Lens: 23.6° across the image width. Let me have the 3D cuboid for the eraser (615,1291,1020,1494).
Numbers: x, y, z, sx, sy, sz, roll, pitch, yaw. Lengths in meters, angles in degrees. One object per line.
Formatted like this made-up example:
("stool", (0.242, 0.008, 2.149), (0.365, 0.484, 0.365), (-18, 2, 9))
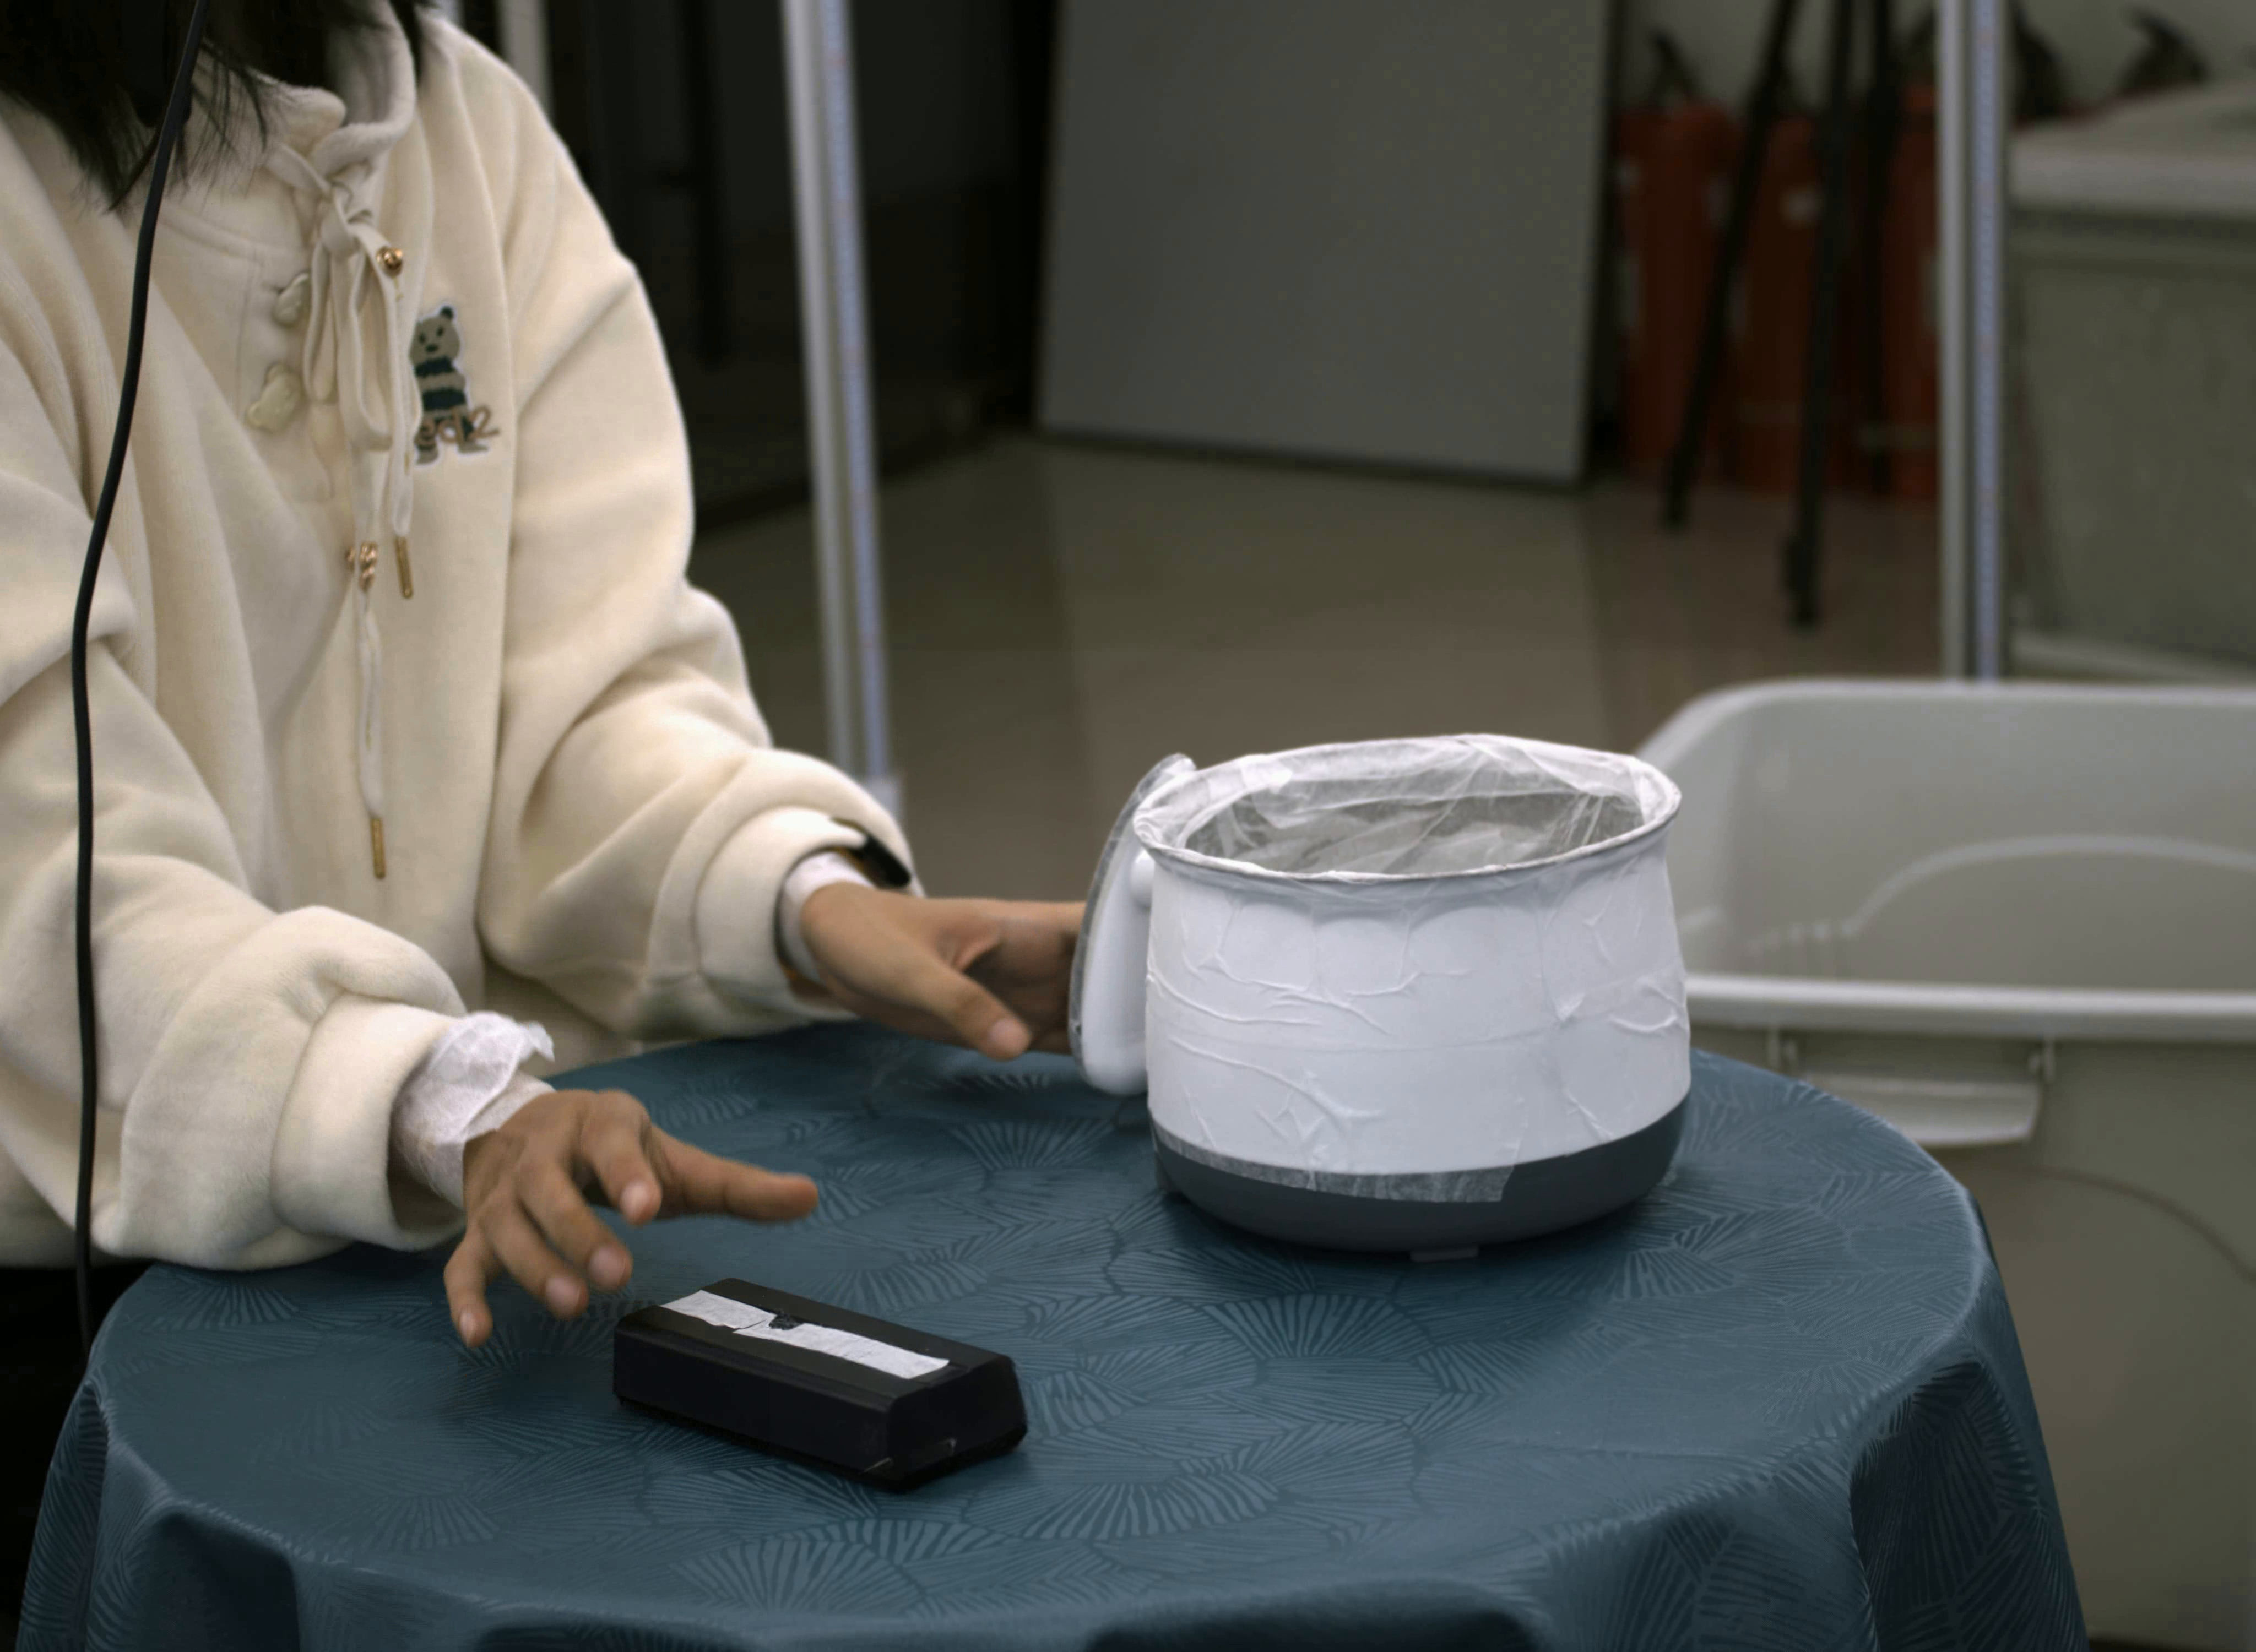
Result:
("eraser", (-0.090, 0.163, 1.569), (0.052, 0.031, 0.127), (-16, 17, -41))

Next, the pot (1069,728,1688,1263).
("pot", (0.071, 0.049, 1.749), (0.235, 0.138, 0.175), (9, 18, 41))
